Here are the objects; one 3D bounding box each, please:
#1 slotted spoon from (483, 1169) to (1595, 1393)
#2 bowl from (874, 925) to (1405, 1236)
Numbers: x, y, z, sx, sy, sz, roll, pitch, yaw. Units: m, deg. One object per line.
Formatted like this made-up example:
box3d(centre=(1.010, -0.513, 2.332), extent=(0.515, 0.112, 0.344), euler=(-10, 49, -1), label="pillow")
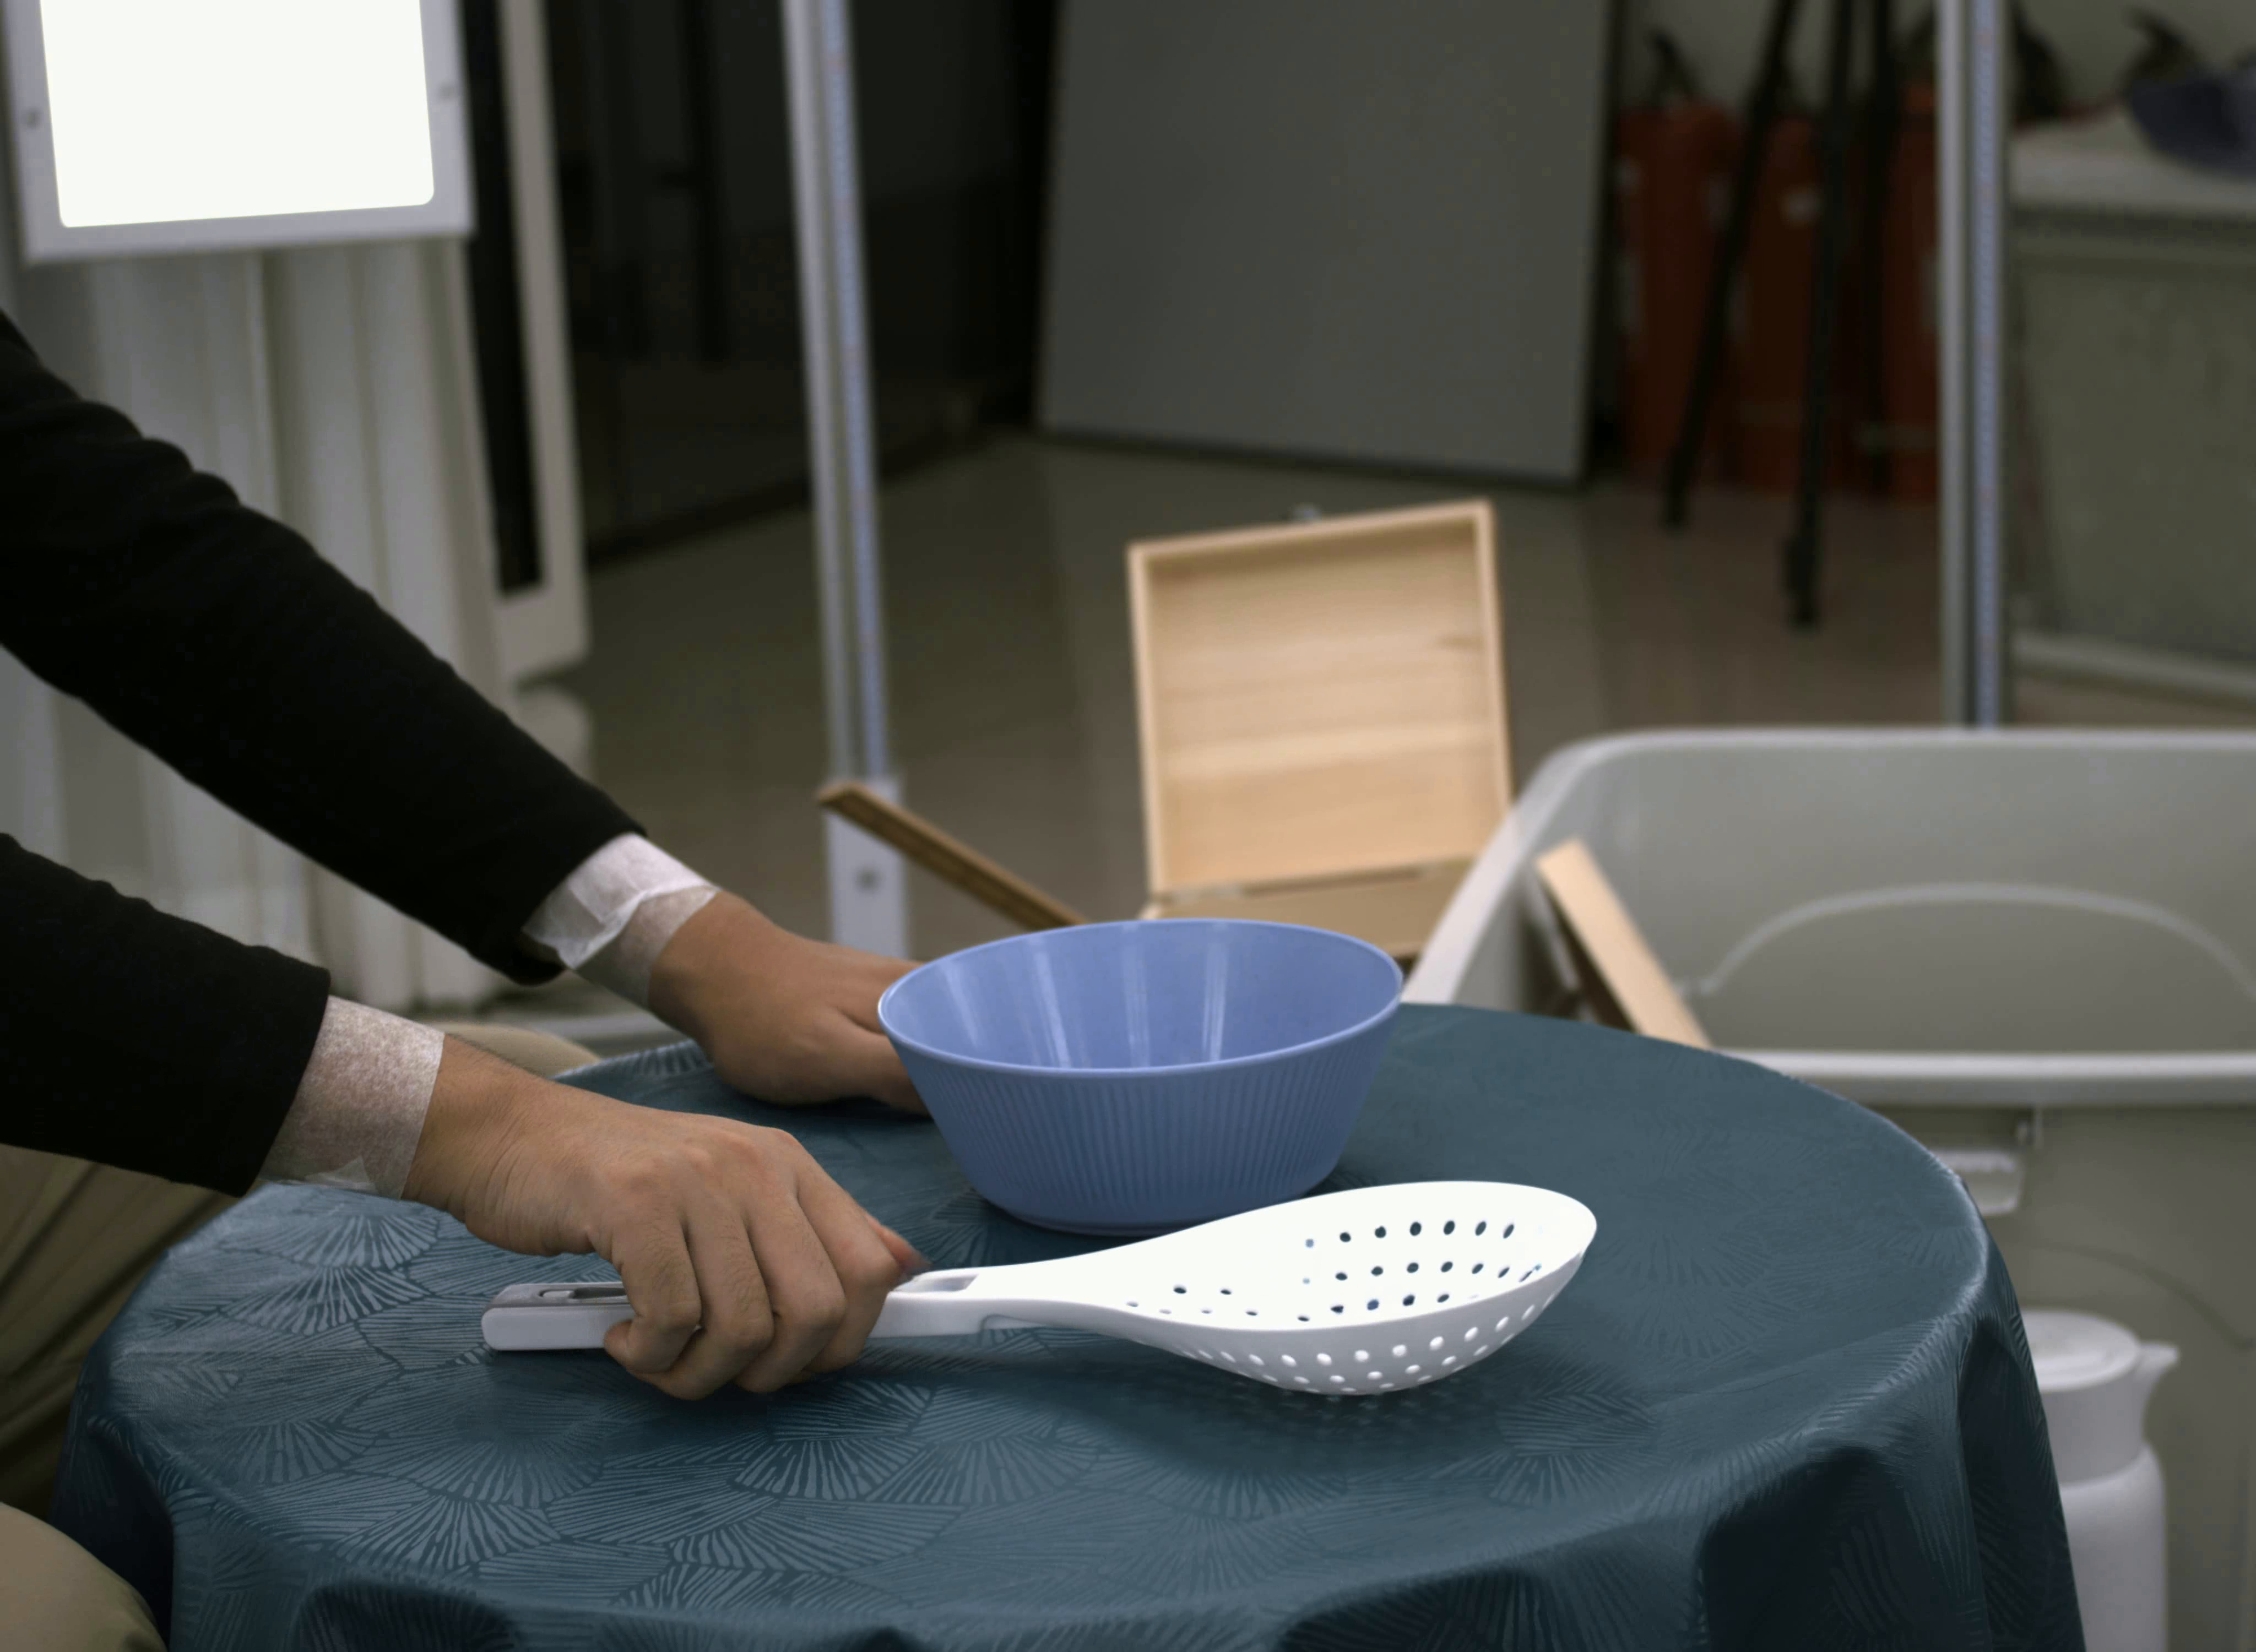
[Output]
box3d(centre=(-0.031, 0.140, 1.606), extent=(0.349, 0.046, 0.135), euler=(-1, 15, 18), label="slotted spoon")
box3d(centre=(0.006, 0.085, 1.767), extent=(0.174, 0.071, 0.176), euler=(-5, 13, 0), label="bowl")
